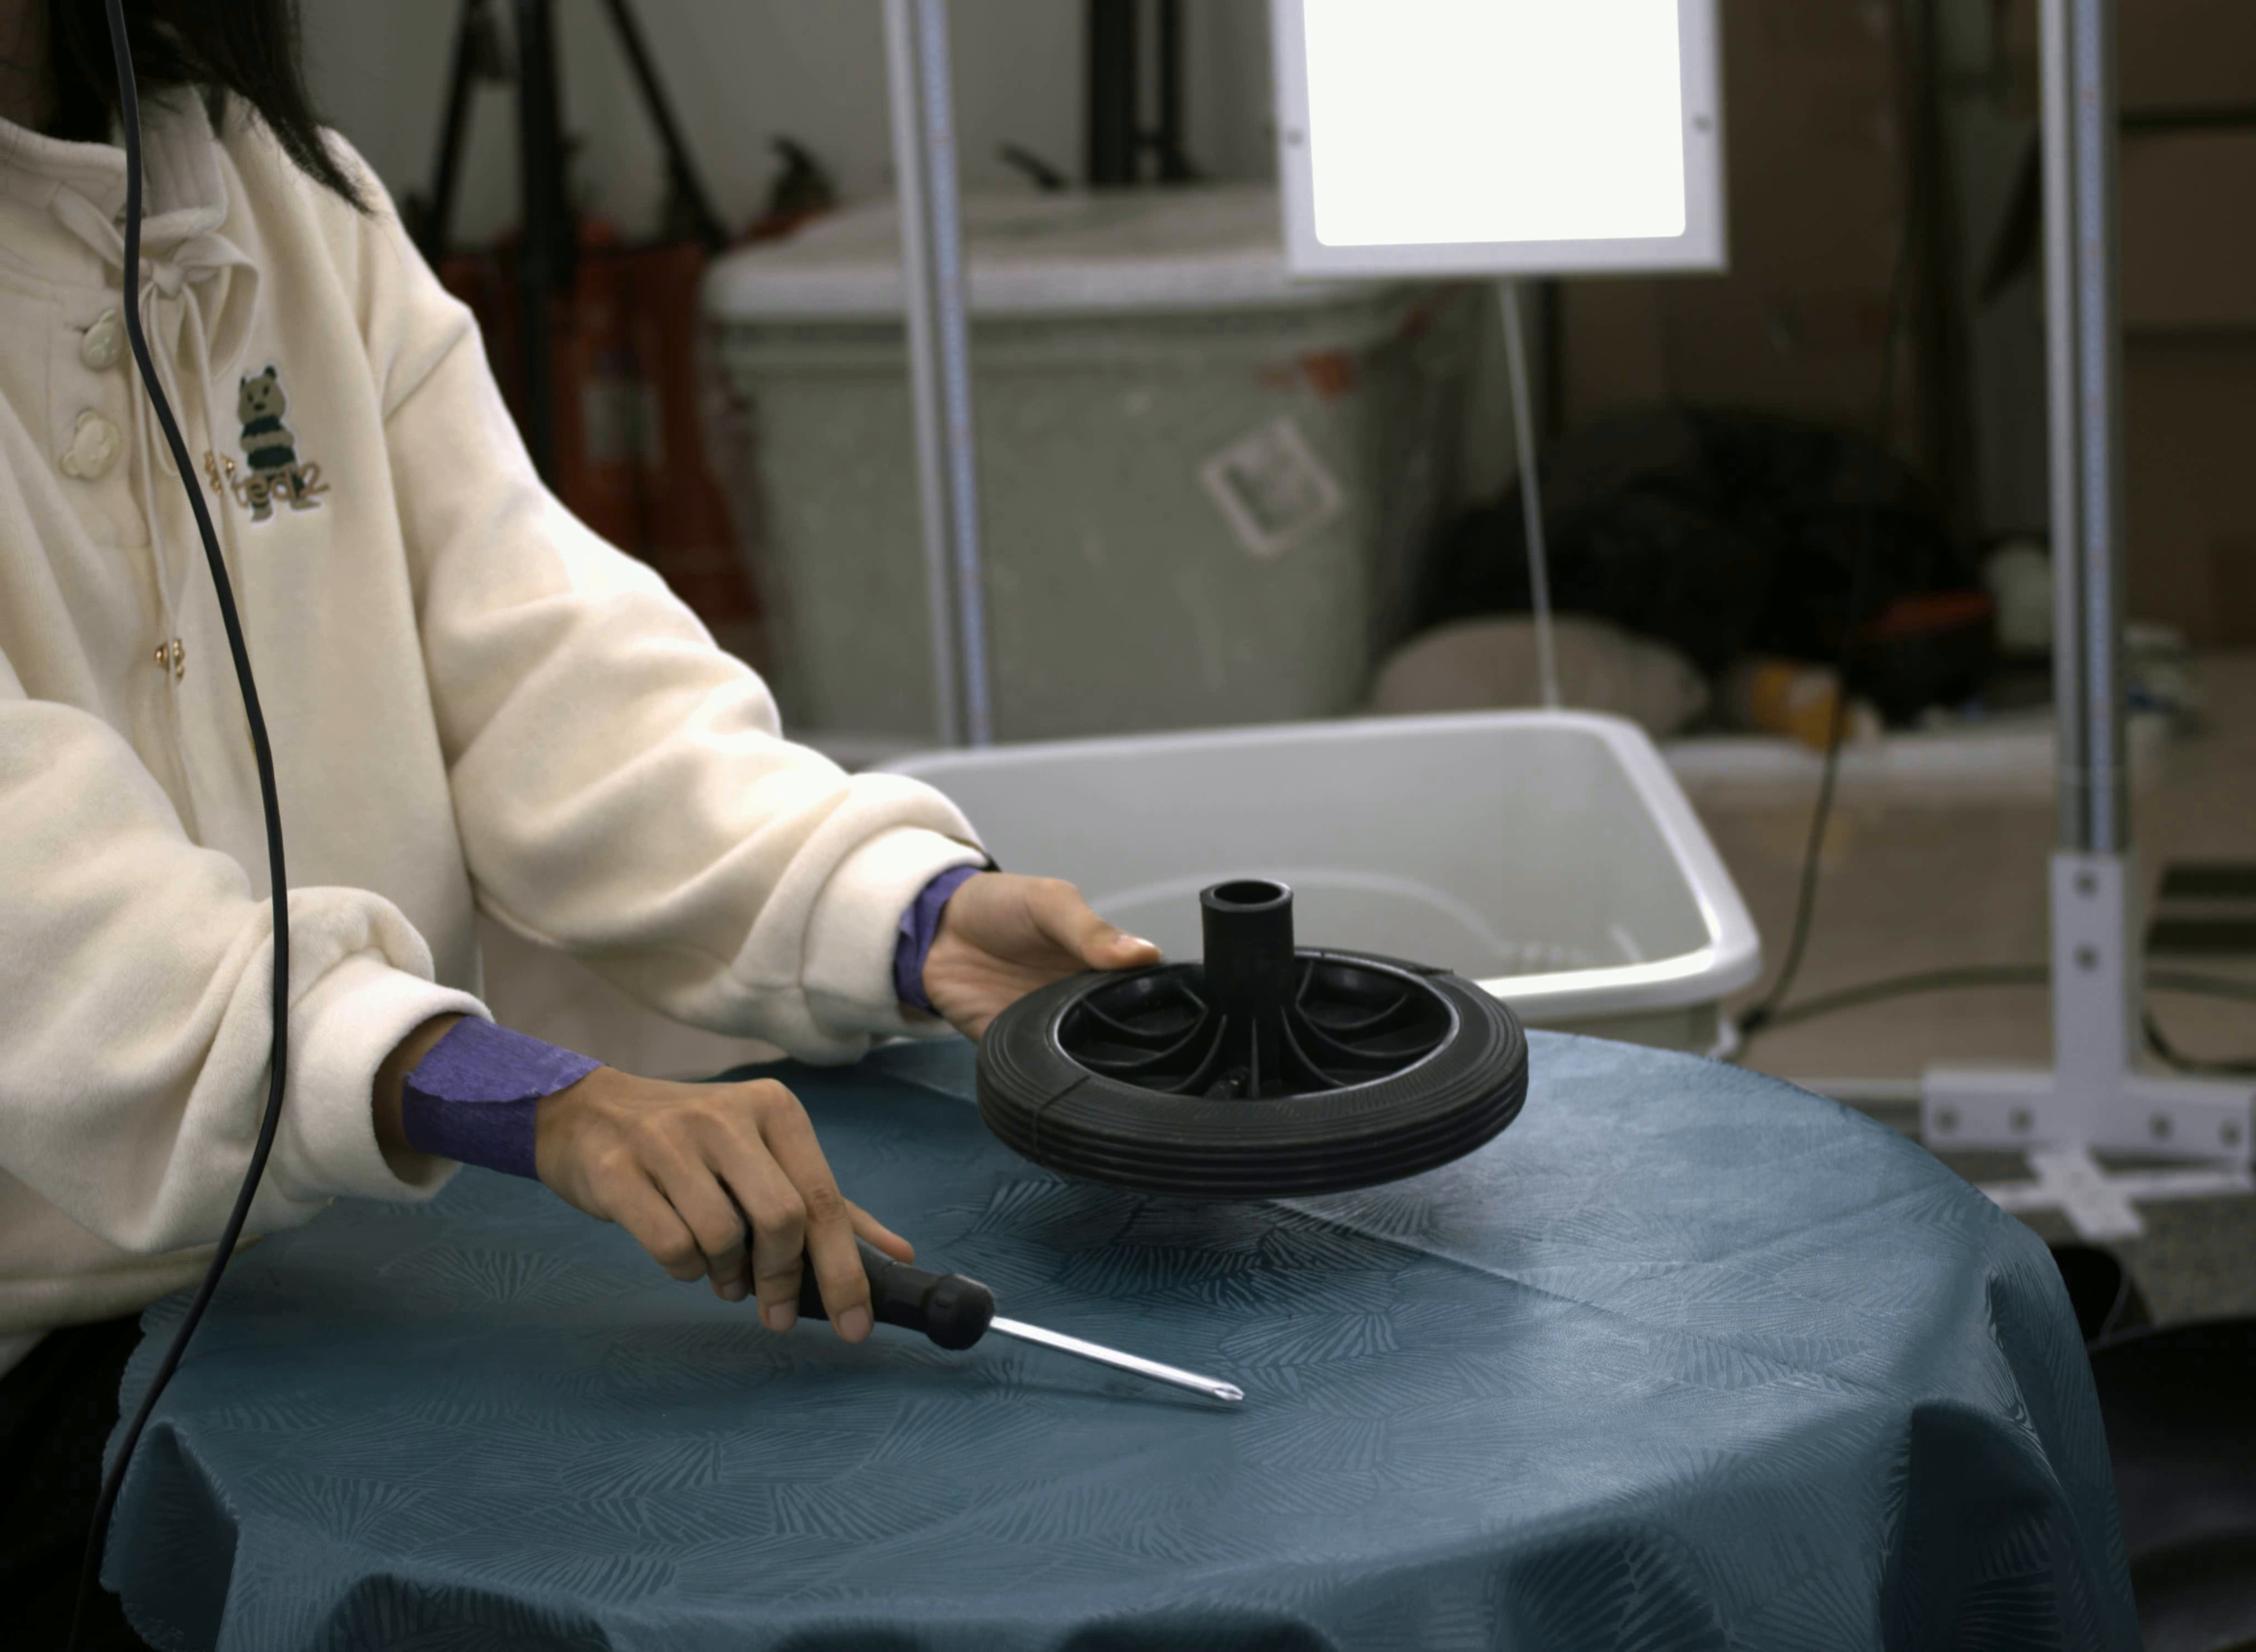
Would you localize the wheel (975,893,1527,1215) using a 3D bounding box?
[{"bbox_3d":[0.041,0.065,1.854,0.187,0.079,0.190,-4,20,-2],"label":"wheel"}]

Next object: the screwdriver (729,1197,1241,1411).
[{"bbox_3d":[-0.043,0.151,1.729,0.200,0.031,0.031,14,21,31],"label":"screwdriver"}]
